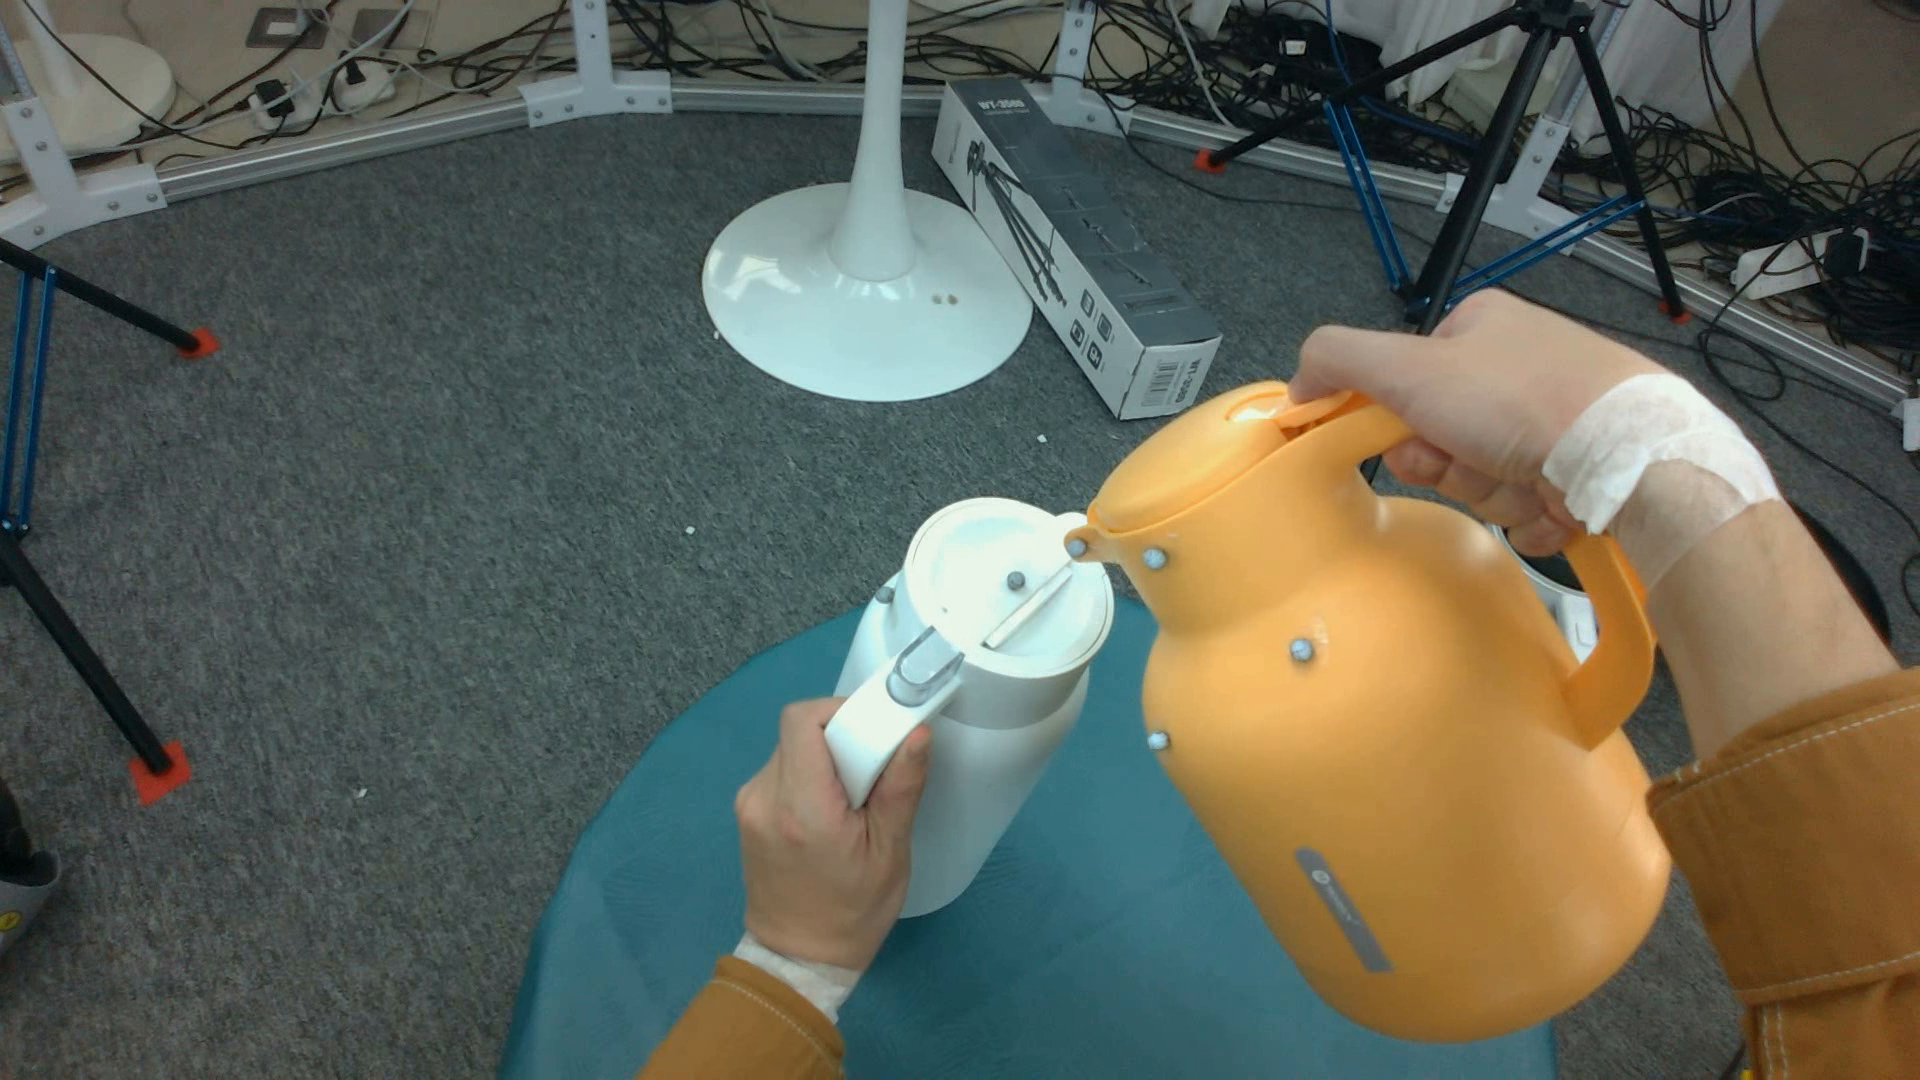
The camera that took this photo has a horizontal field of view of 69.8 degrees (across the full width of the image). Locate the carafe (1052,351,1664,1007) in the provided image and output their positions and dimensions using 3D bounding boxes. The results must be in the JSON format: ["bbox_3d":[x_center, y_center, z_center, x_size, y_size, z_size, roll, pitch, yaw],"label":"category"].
[{"bbox_3d":[0.168,0.047,0.547,0.260,0.201,0.164,51,45,-14],"label":"carafe"}]

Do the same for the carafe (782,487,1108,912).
[{"bbox_3d":[-0.022,0.101,0.708,0.124,0.267,0.173,40,53,11],"label":"carafe"}]
